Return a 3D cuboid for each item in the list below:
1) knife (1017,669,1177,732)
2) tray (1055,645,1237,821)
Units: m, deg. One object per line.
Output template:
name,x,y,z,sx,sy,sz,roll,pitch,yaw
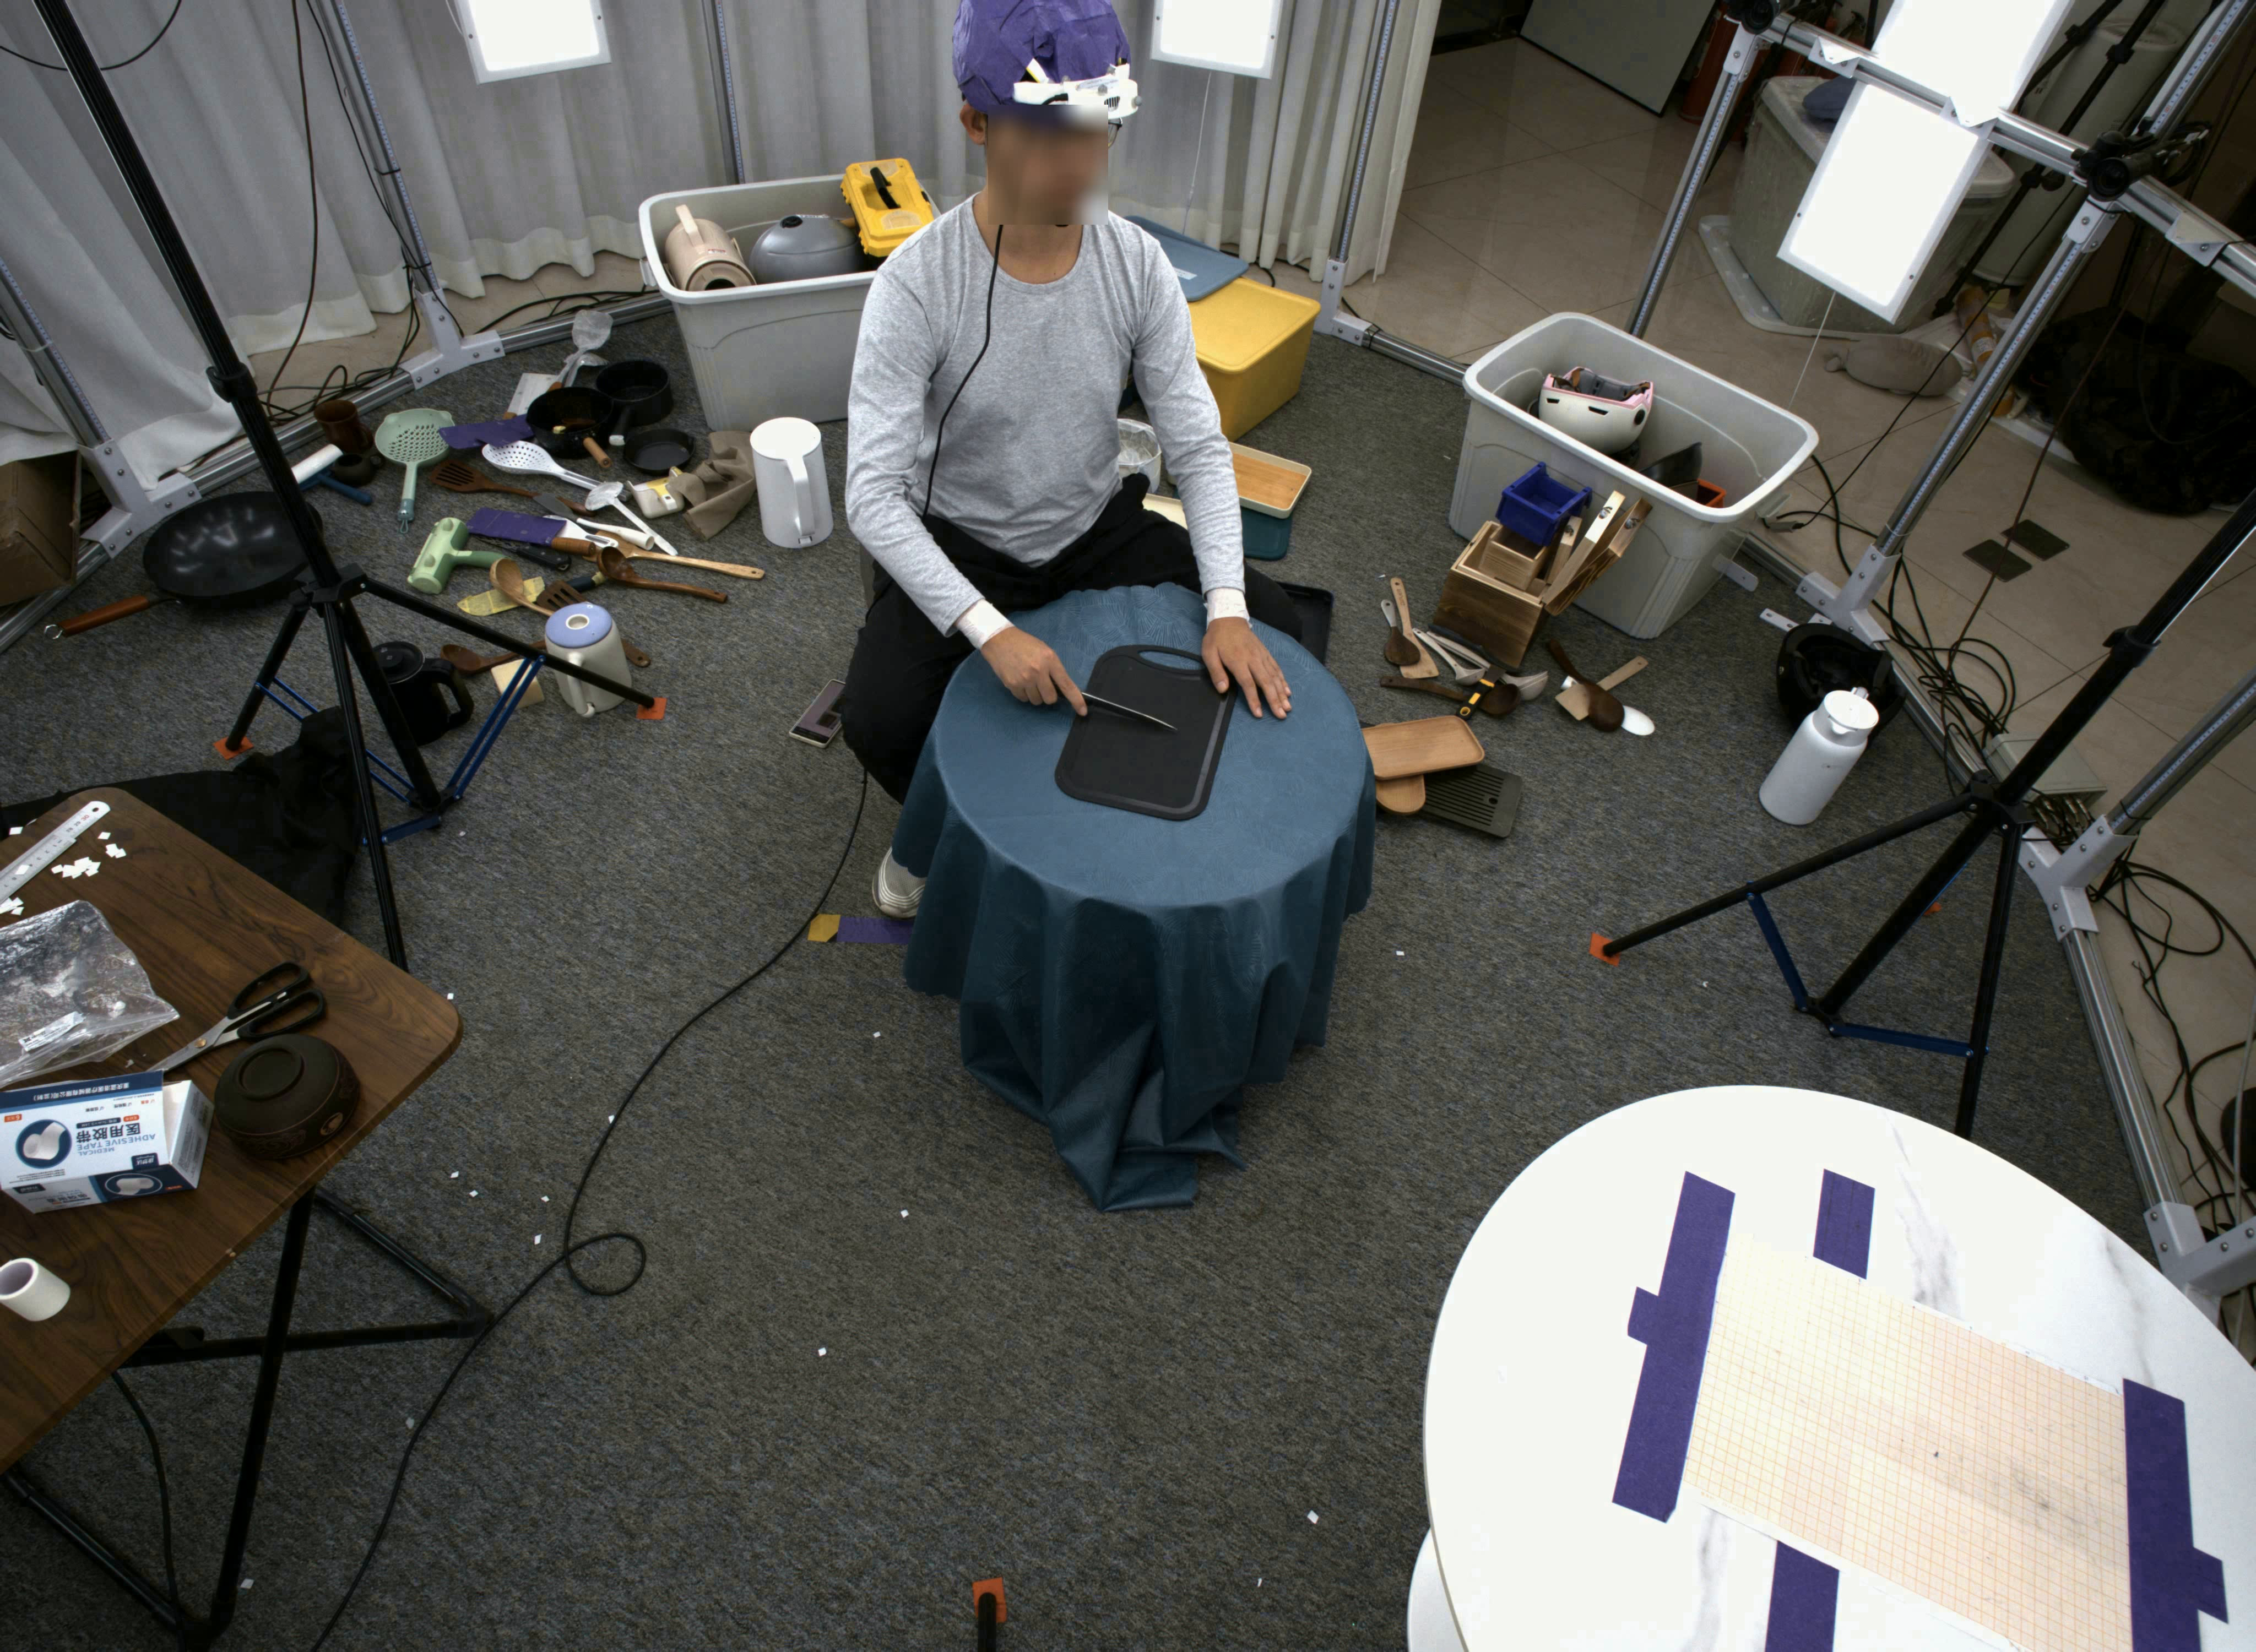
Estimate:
knife,-0.042,-0.173,1.787,0.238,0.024,0.016,20,67,3
tray,0.031,-0.143,1.790,0.211,0.009,0.332,13,49,7
